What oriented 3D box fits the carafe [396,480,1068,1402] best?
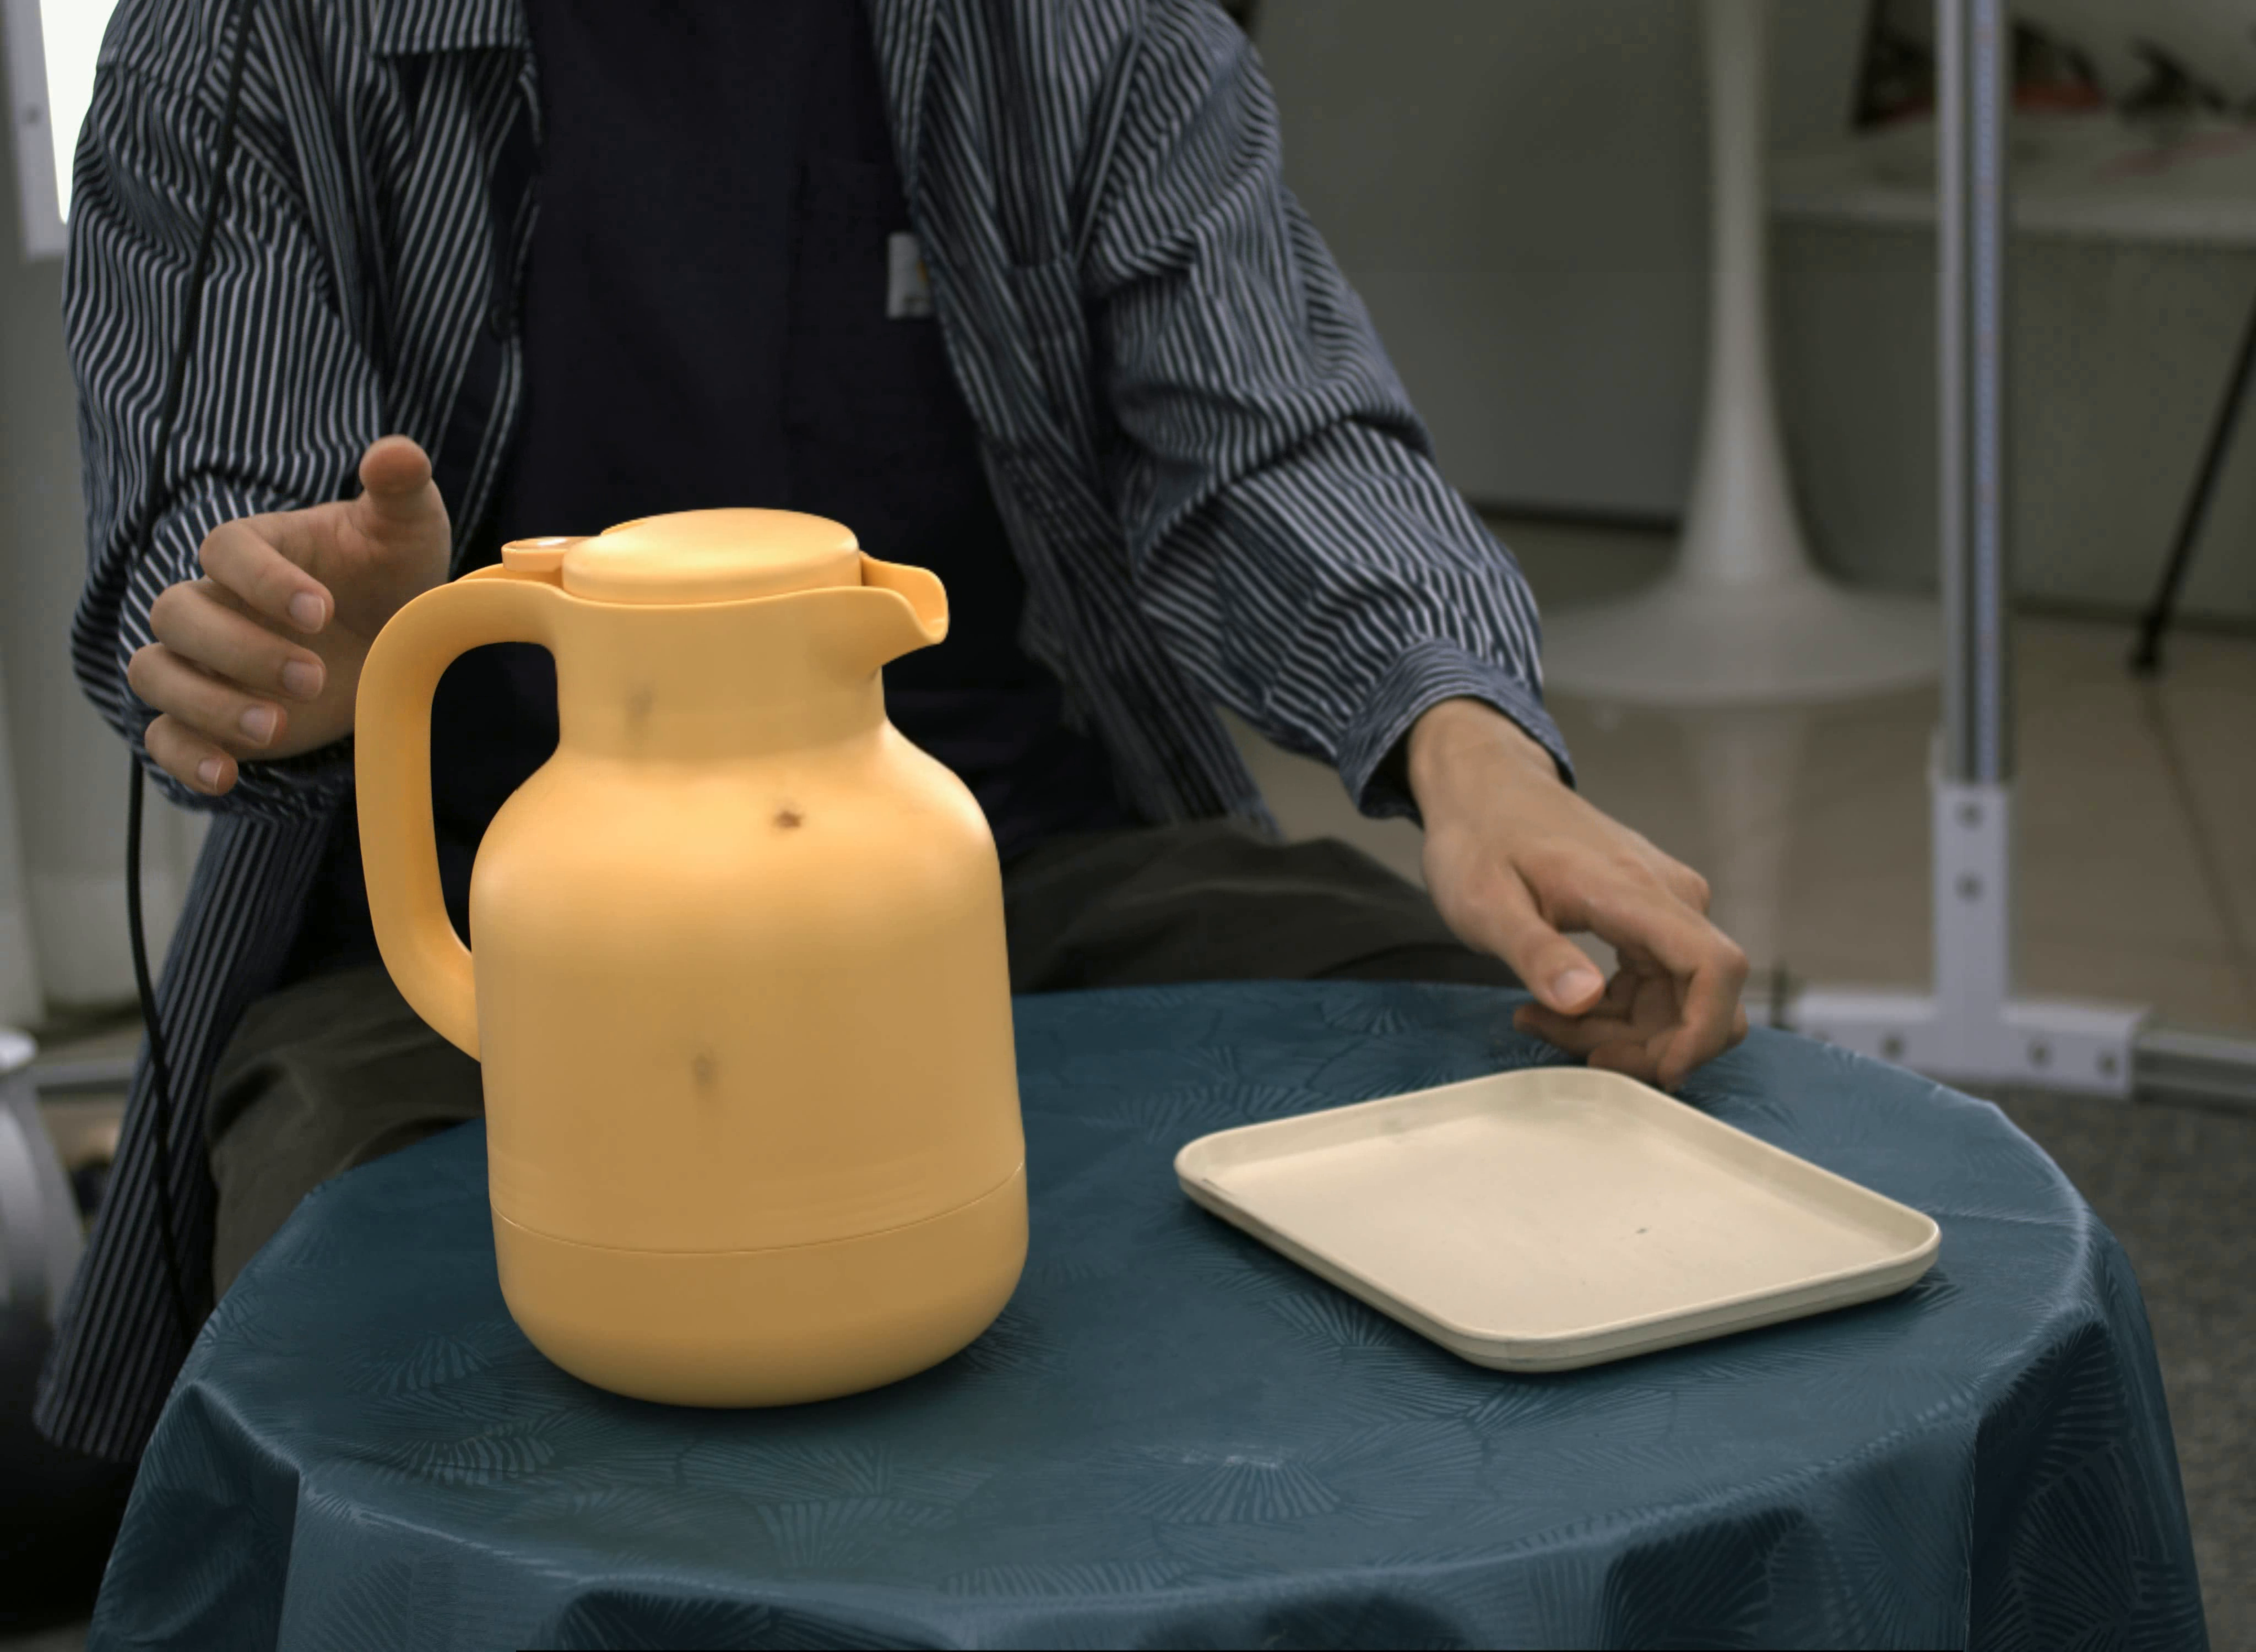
[{"bbox_3d":[-0.120,0.029,1.625,0.202,0.263,0.162,2,13,21],"label":"carafe"}]

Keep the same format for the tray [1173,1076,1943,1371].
[{"bbox_3d":[0.131,0.123,1.686,0.167,0.017,0.242,-9,14,-23],"label":"tray"}]
